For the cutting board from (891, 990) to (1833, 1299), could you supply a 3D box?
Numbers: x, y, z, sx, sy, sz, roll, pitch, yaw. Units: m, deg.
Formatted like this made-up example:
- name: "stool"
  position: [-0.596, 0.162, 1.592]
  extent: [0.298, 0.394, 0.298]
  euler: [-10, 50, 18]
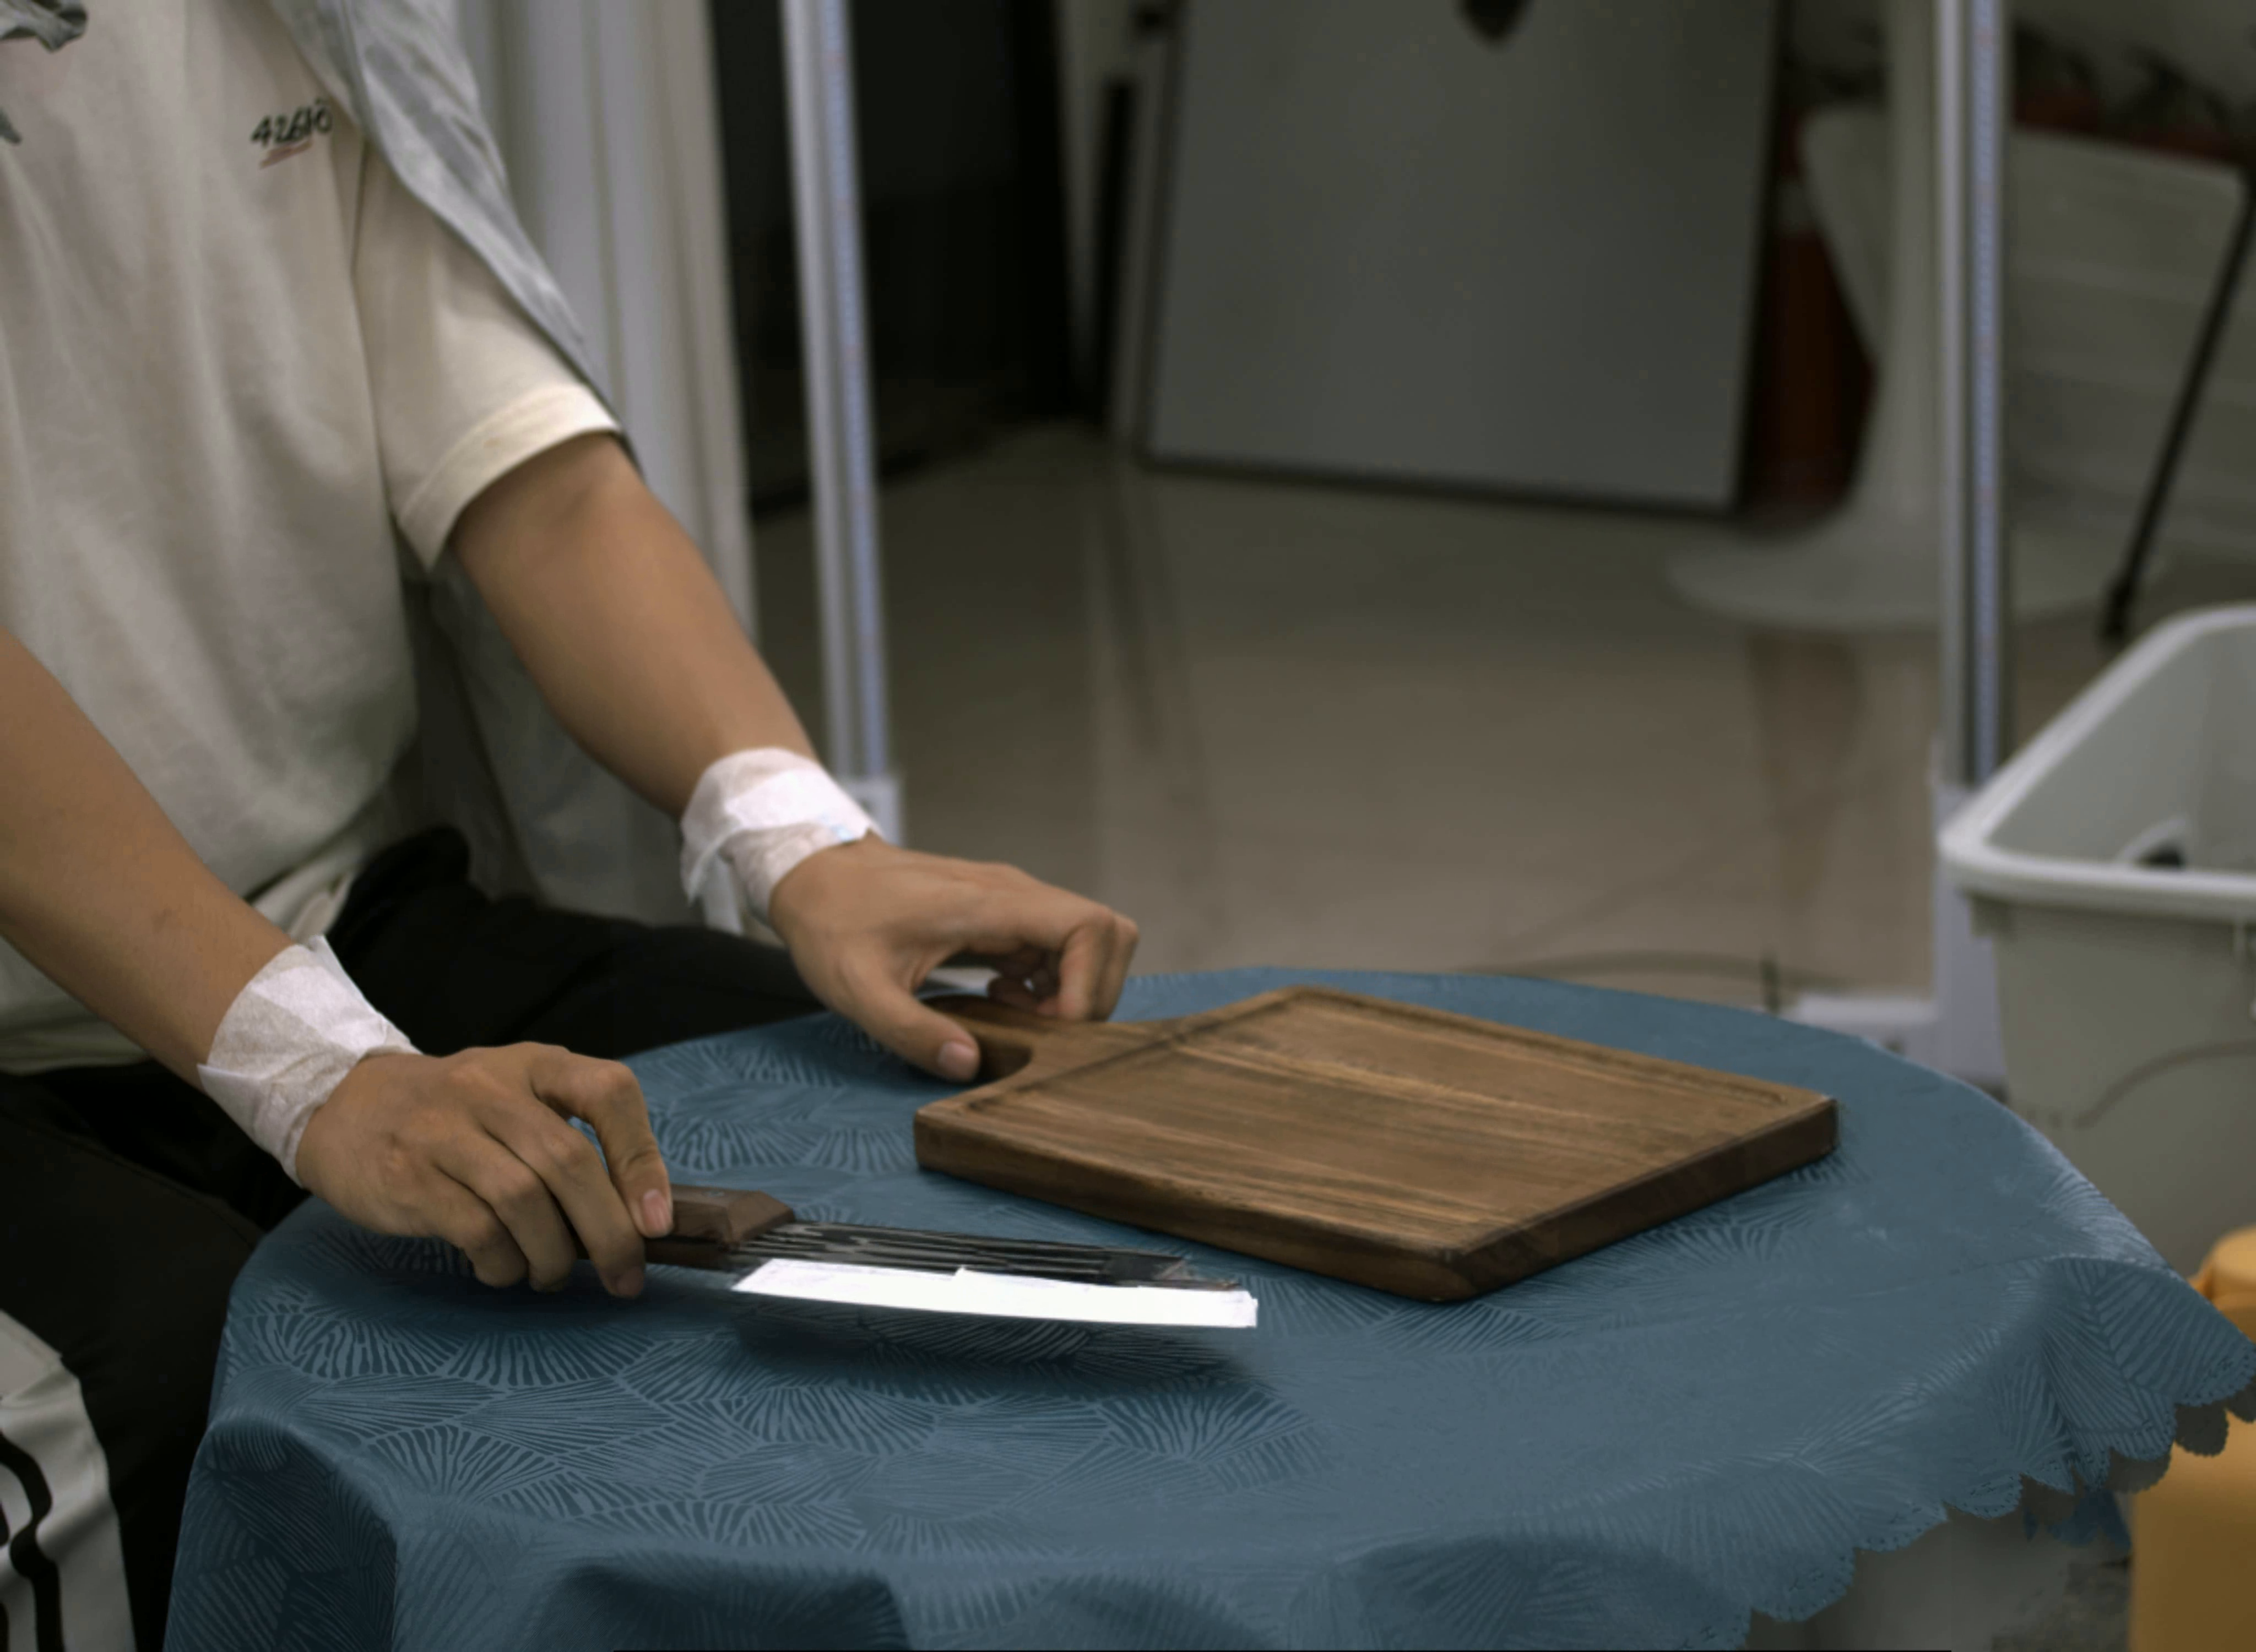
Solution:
- name: "cutting board"
  position: [0.046, 0.096, 1.822]
  extent: [0.197, 0.023, 0.355]
  euler: [-16, 18, -42]

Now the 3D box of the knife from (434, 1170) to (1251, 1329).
- name: "knife"
  position: [-0.093, 0.133, 1.653]
  extent: [0.300, 0.024, 0.067]
  euler: [3, 14, 24]
